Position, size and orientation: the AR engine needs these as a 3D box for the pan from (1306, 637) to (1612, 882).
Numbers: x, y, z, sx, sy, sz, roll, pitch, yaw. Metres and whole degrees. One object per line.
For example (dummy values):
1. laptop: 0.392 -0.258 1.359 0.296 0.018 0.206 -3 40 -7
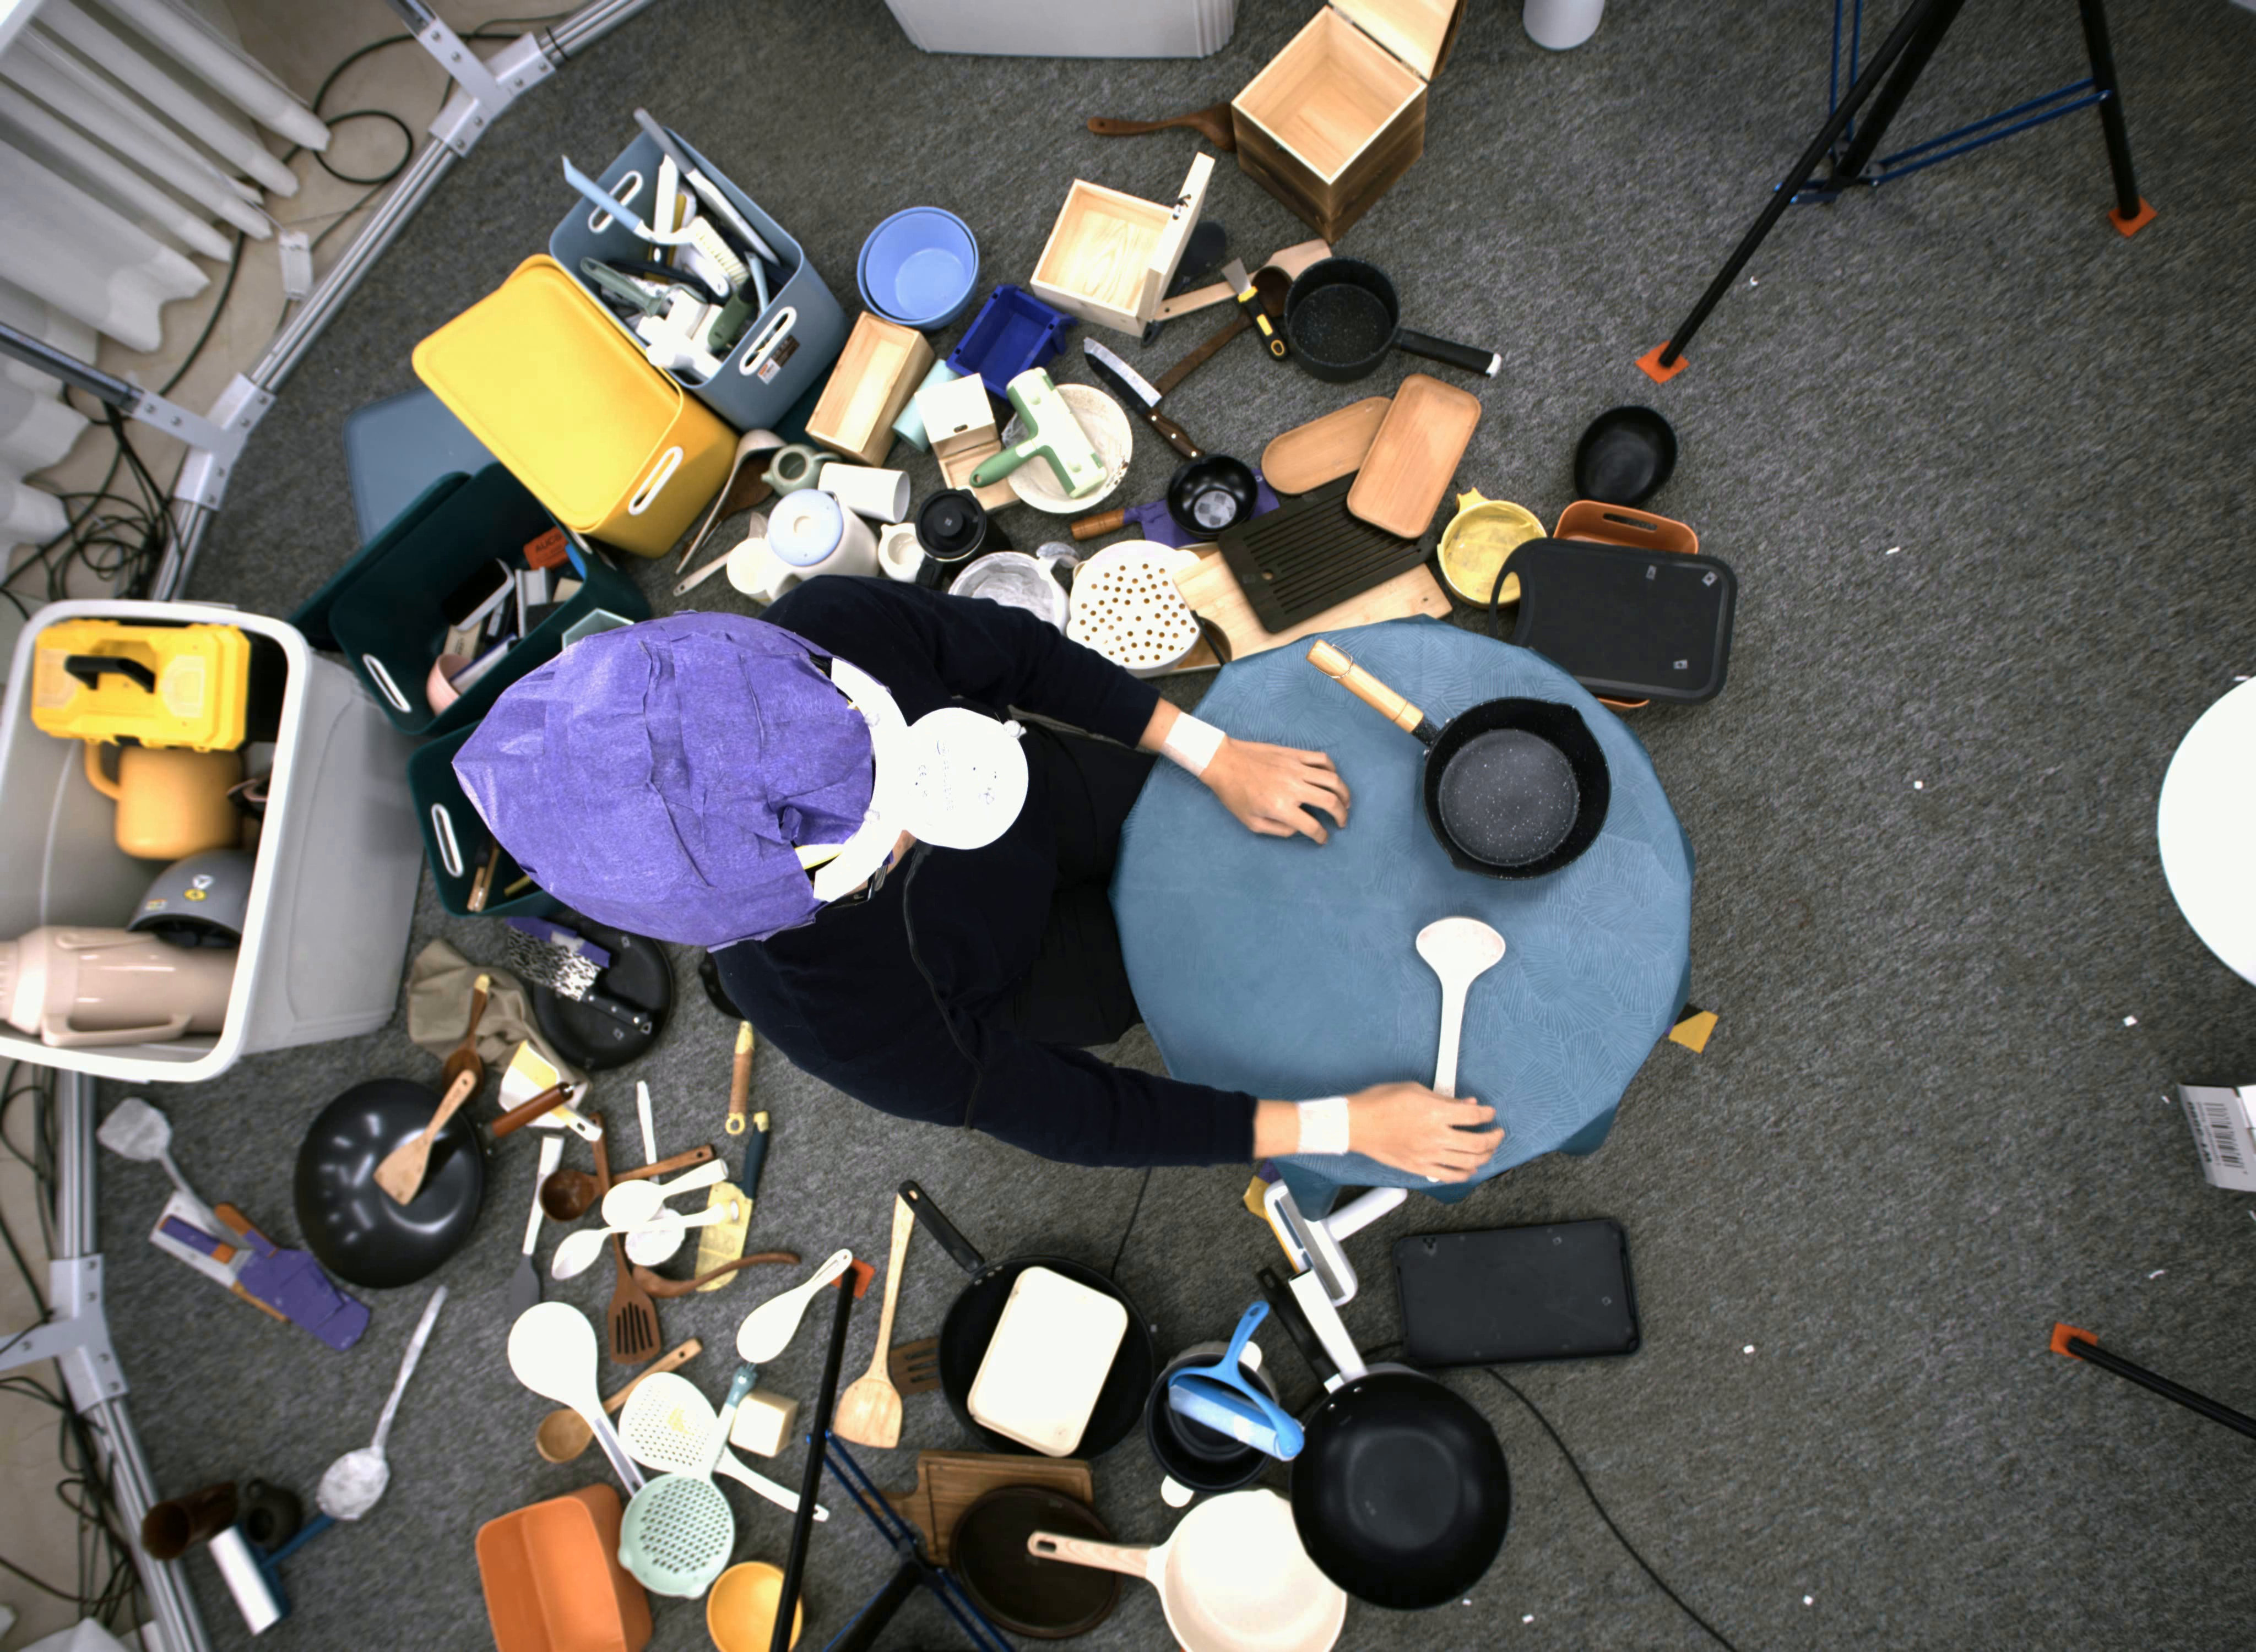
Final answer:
1. pan: 0.326 -0.081 1.403 0.342 0.108 0.208 34 94 9

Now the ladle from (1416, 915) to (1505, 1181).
1. ladle: 0.328 0.226 1.405 0.089 0.069 0.274 6 87 5
